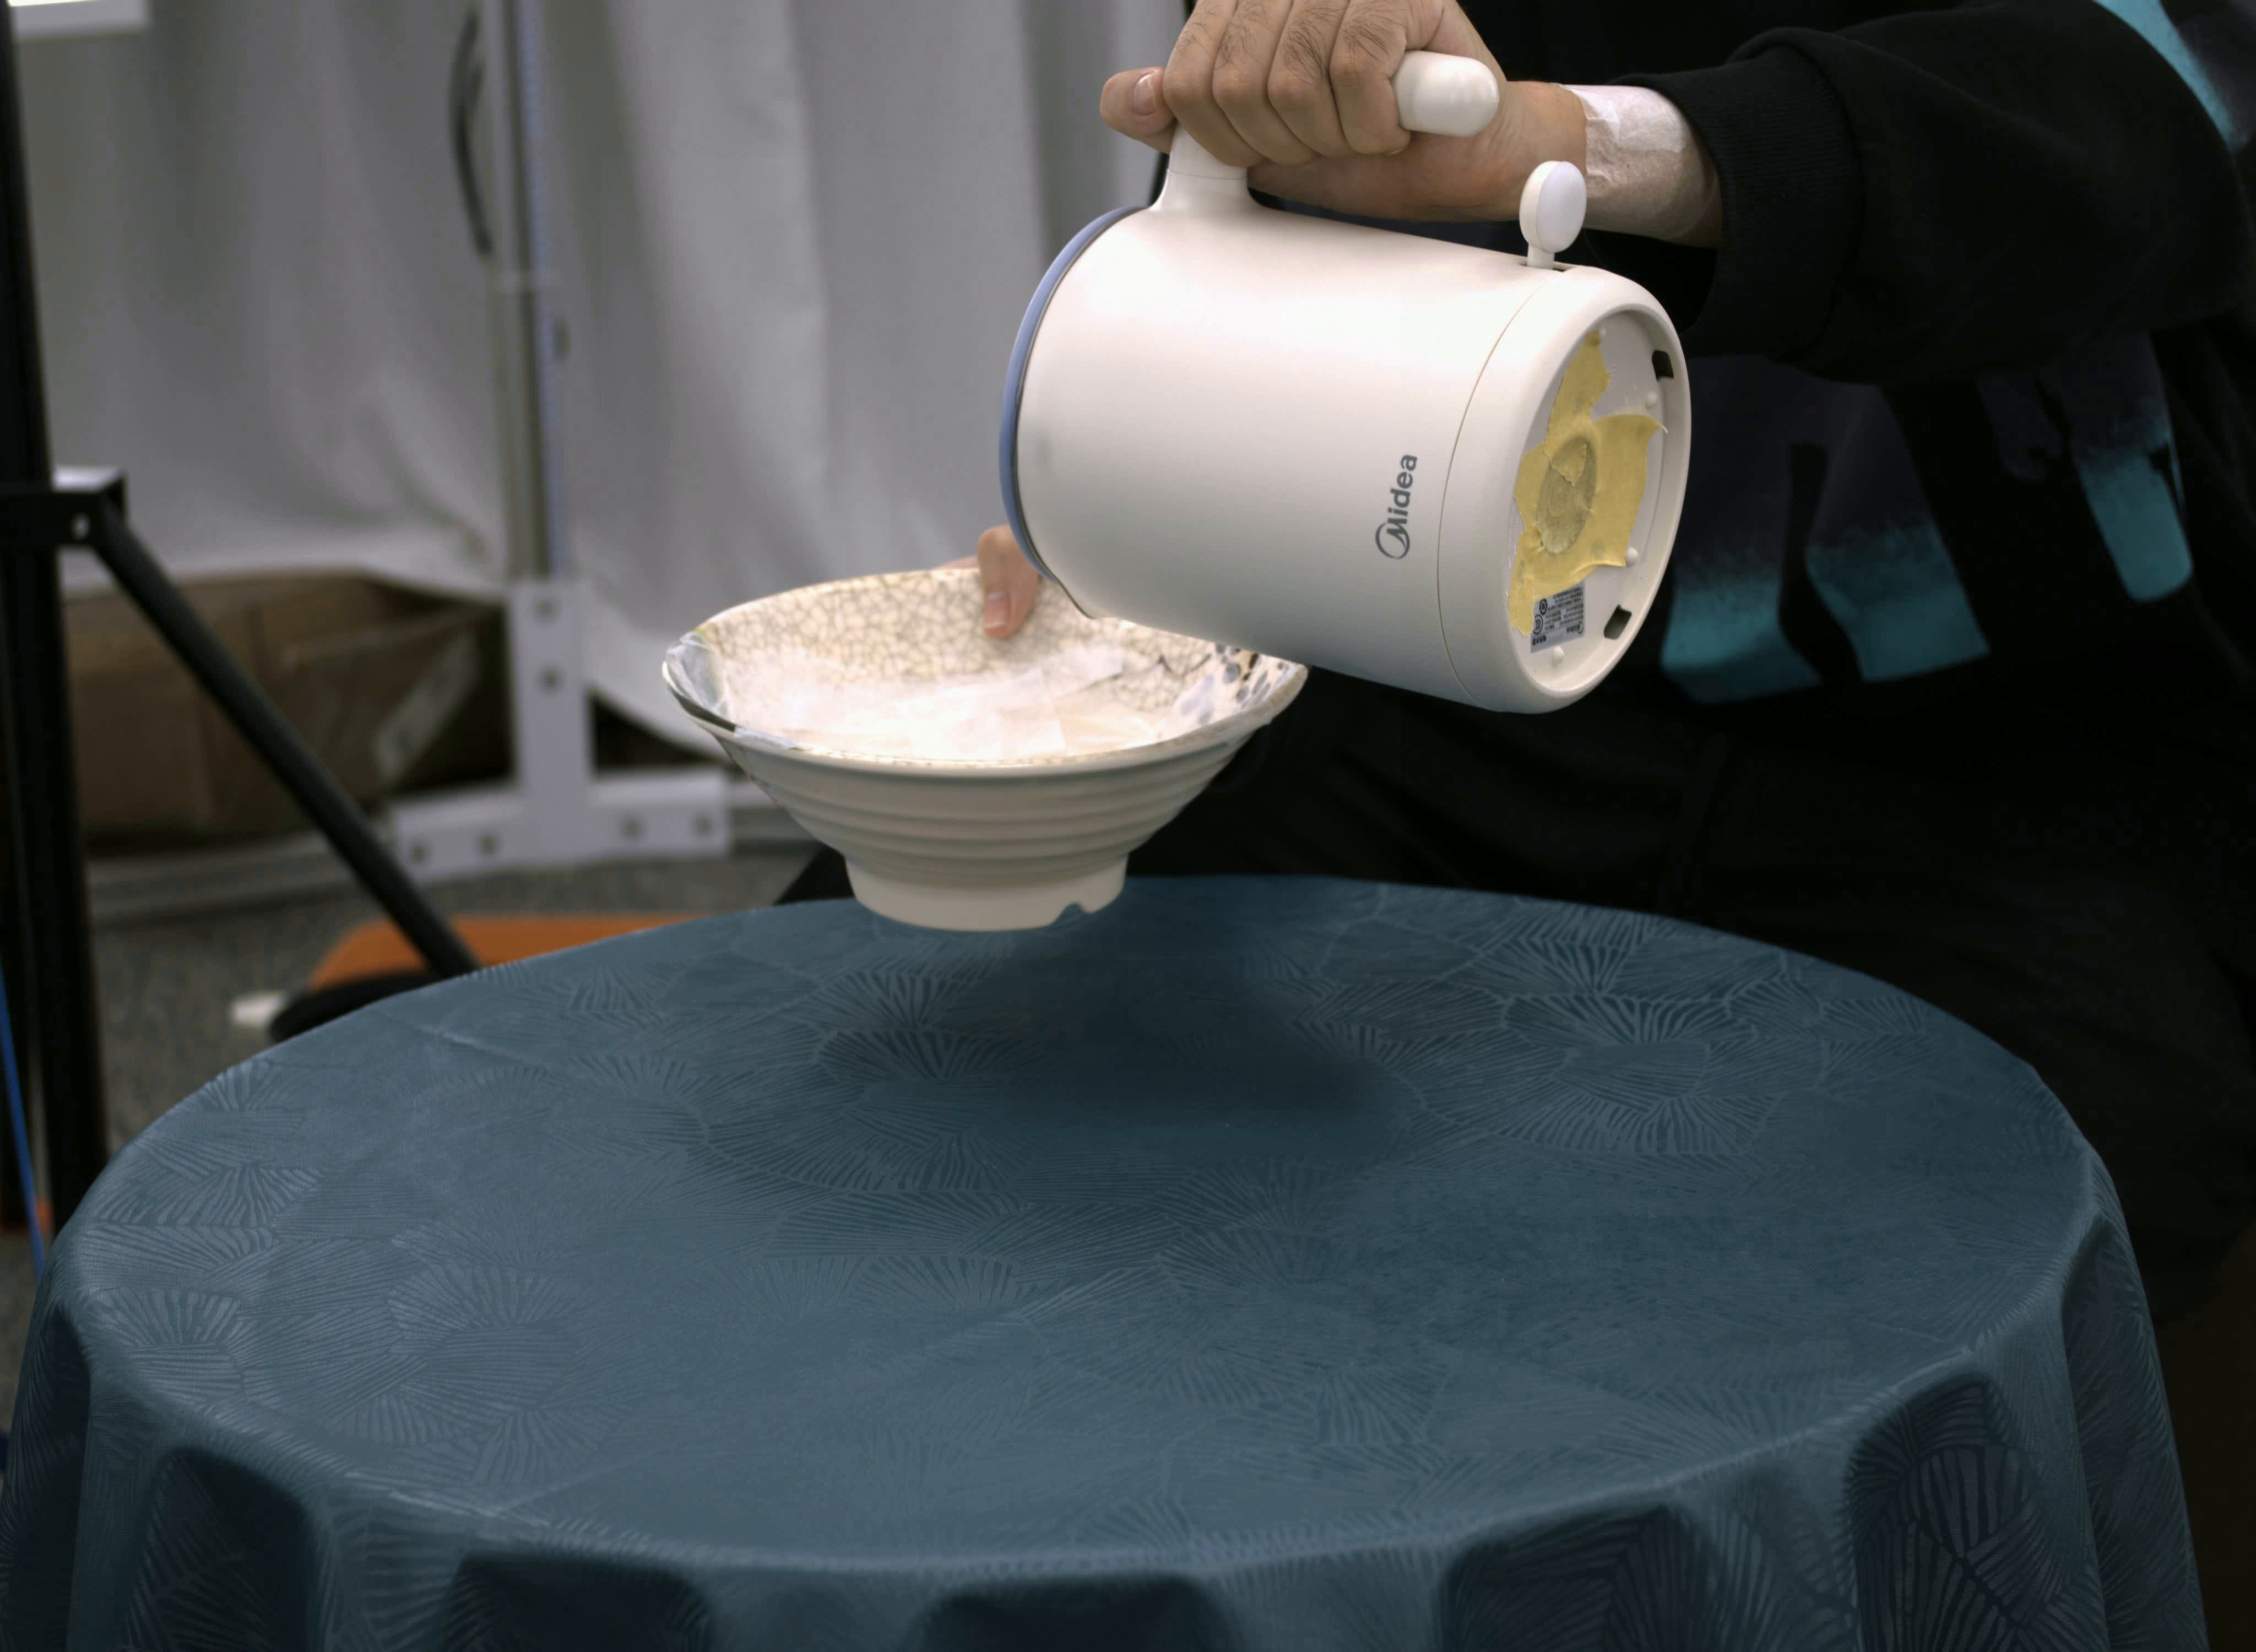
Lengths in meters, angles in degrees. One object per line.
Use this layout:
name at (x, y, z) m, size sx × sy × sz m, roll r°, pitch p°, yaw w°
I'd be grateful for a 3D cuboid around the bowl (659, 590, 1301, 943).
bowl at (-0.048, -0.013, 1.691) m, size 0.203 × 0.078 × 0.205 m, roll 2°, pitch 16°, yaw -2°

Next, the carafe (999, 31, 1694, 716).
carafe at (0.068, -0.136, 1.567) m, size 0.186 × 0.191 × 0.129 m, roll 17°, pitch 16°, yaw 29°
